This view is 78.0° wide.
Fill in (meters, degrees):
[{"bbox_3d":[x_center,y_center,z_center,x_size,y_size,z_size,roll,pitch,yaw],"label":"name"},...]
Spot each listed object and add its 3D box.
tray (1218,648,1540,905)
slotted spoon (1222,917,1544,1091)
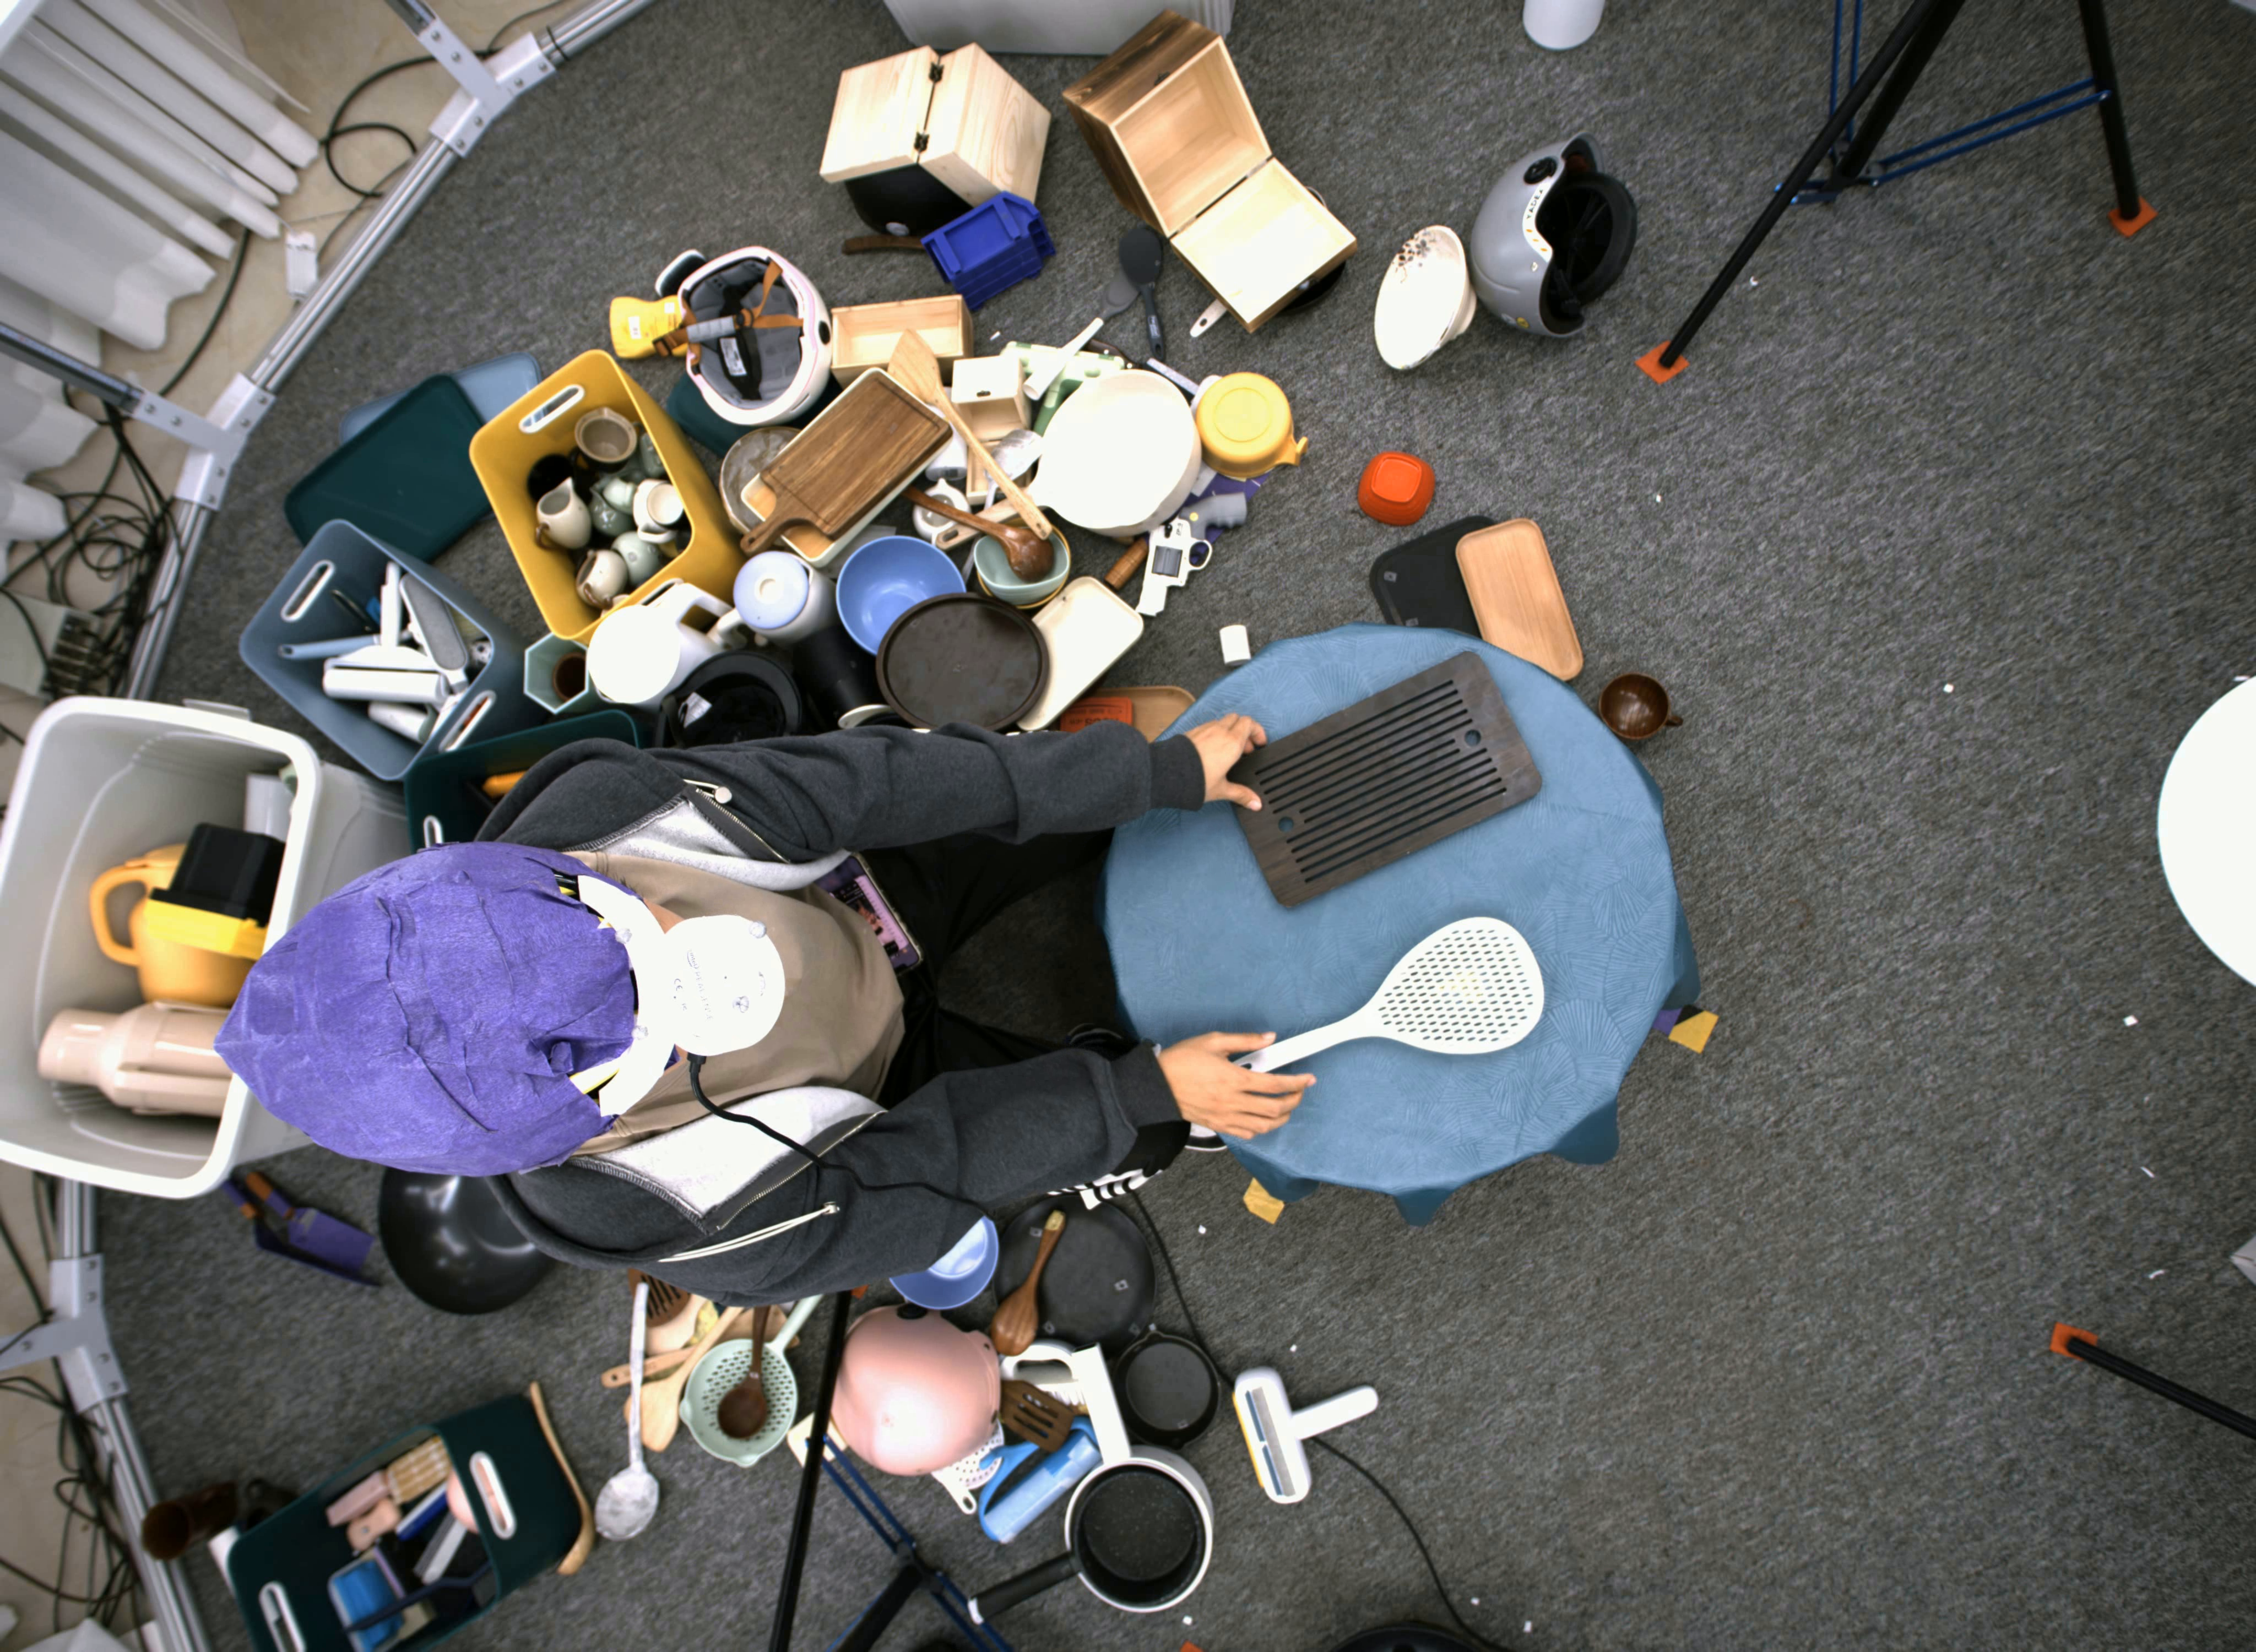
[{"bbox_3d":[0.263,-0.053,1.458,0.308,0.018,0.169,-25,83,8],"label":"tray"},{"bbox_3d":[0.255,0.202,1.434,0.350,0.050,0.136,-22,85,8],"label":"slotted spoon"}]
